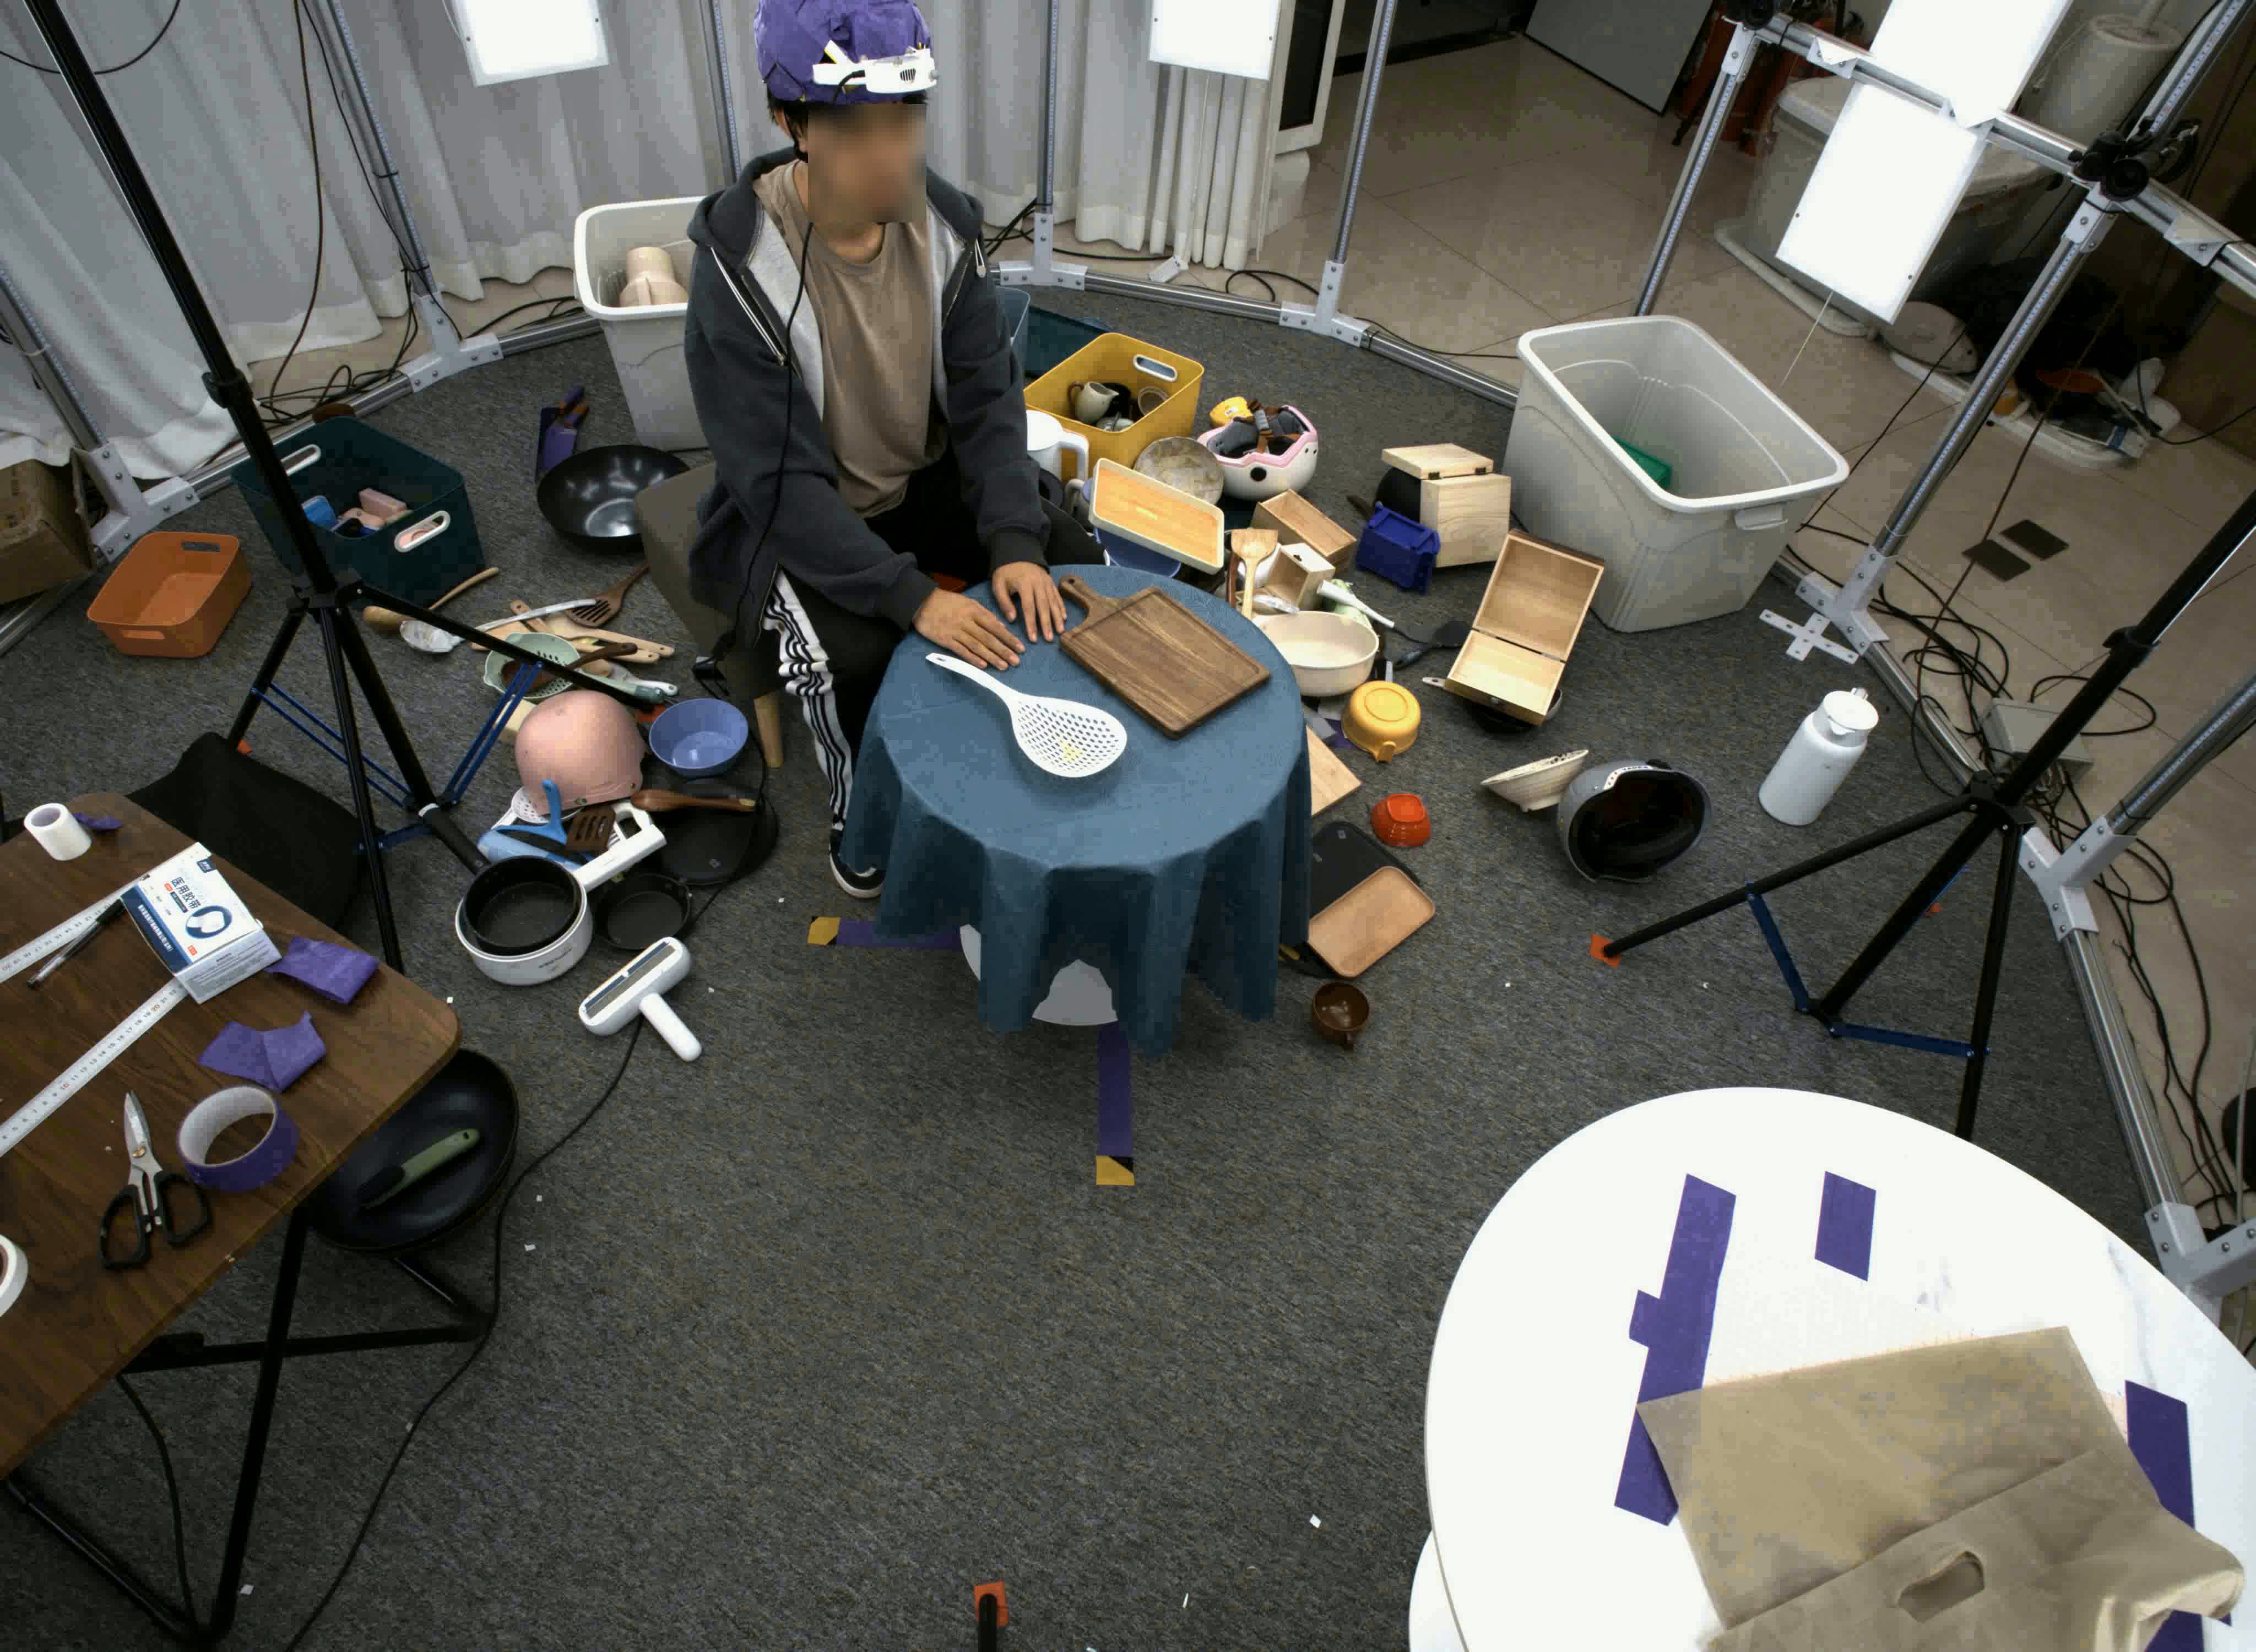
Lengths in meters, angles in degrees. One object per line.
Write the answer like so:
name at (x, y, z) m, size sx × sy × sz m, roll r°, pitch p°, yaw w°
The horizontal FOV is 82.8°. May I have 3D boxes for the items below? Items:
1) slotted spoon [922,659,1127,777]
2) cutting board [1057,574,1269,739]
slotted spoon at (-0.155, -0.164, 1.772) m, size 0.352 × 0.049 × 0.138 m, roll 35°, pitch 57°, yaw 24°
cutting board at (0.019, -0.274, 1.892) m, size 0.202 × 0.022 × 0.358 m, roll -32°, pitch 58°, yaw -28°
